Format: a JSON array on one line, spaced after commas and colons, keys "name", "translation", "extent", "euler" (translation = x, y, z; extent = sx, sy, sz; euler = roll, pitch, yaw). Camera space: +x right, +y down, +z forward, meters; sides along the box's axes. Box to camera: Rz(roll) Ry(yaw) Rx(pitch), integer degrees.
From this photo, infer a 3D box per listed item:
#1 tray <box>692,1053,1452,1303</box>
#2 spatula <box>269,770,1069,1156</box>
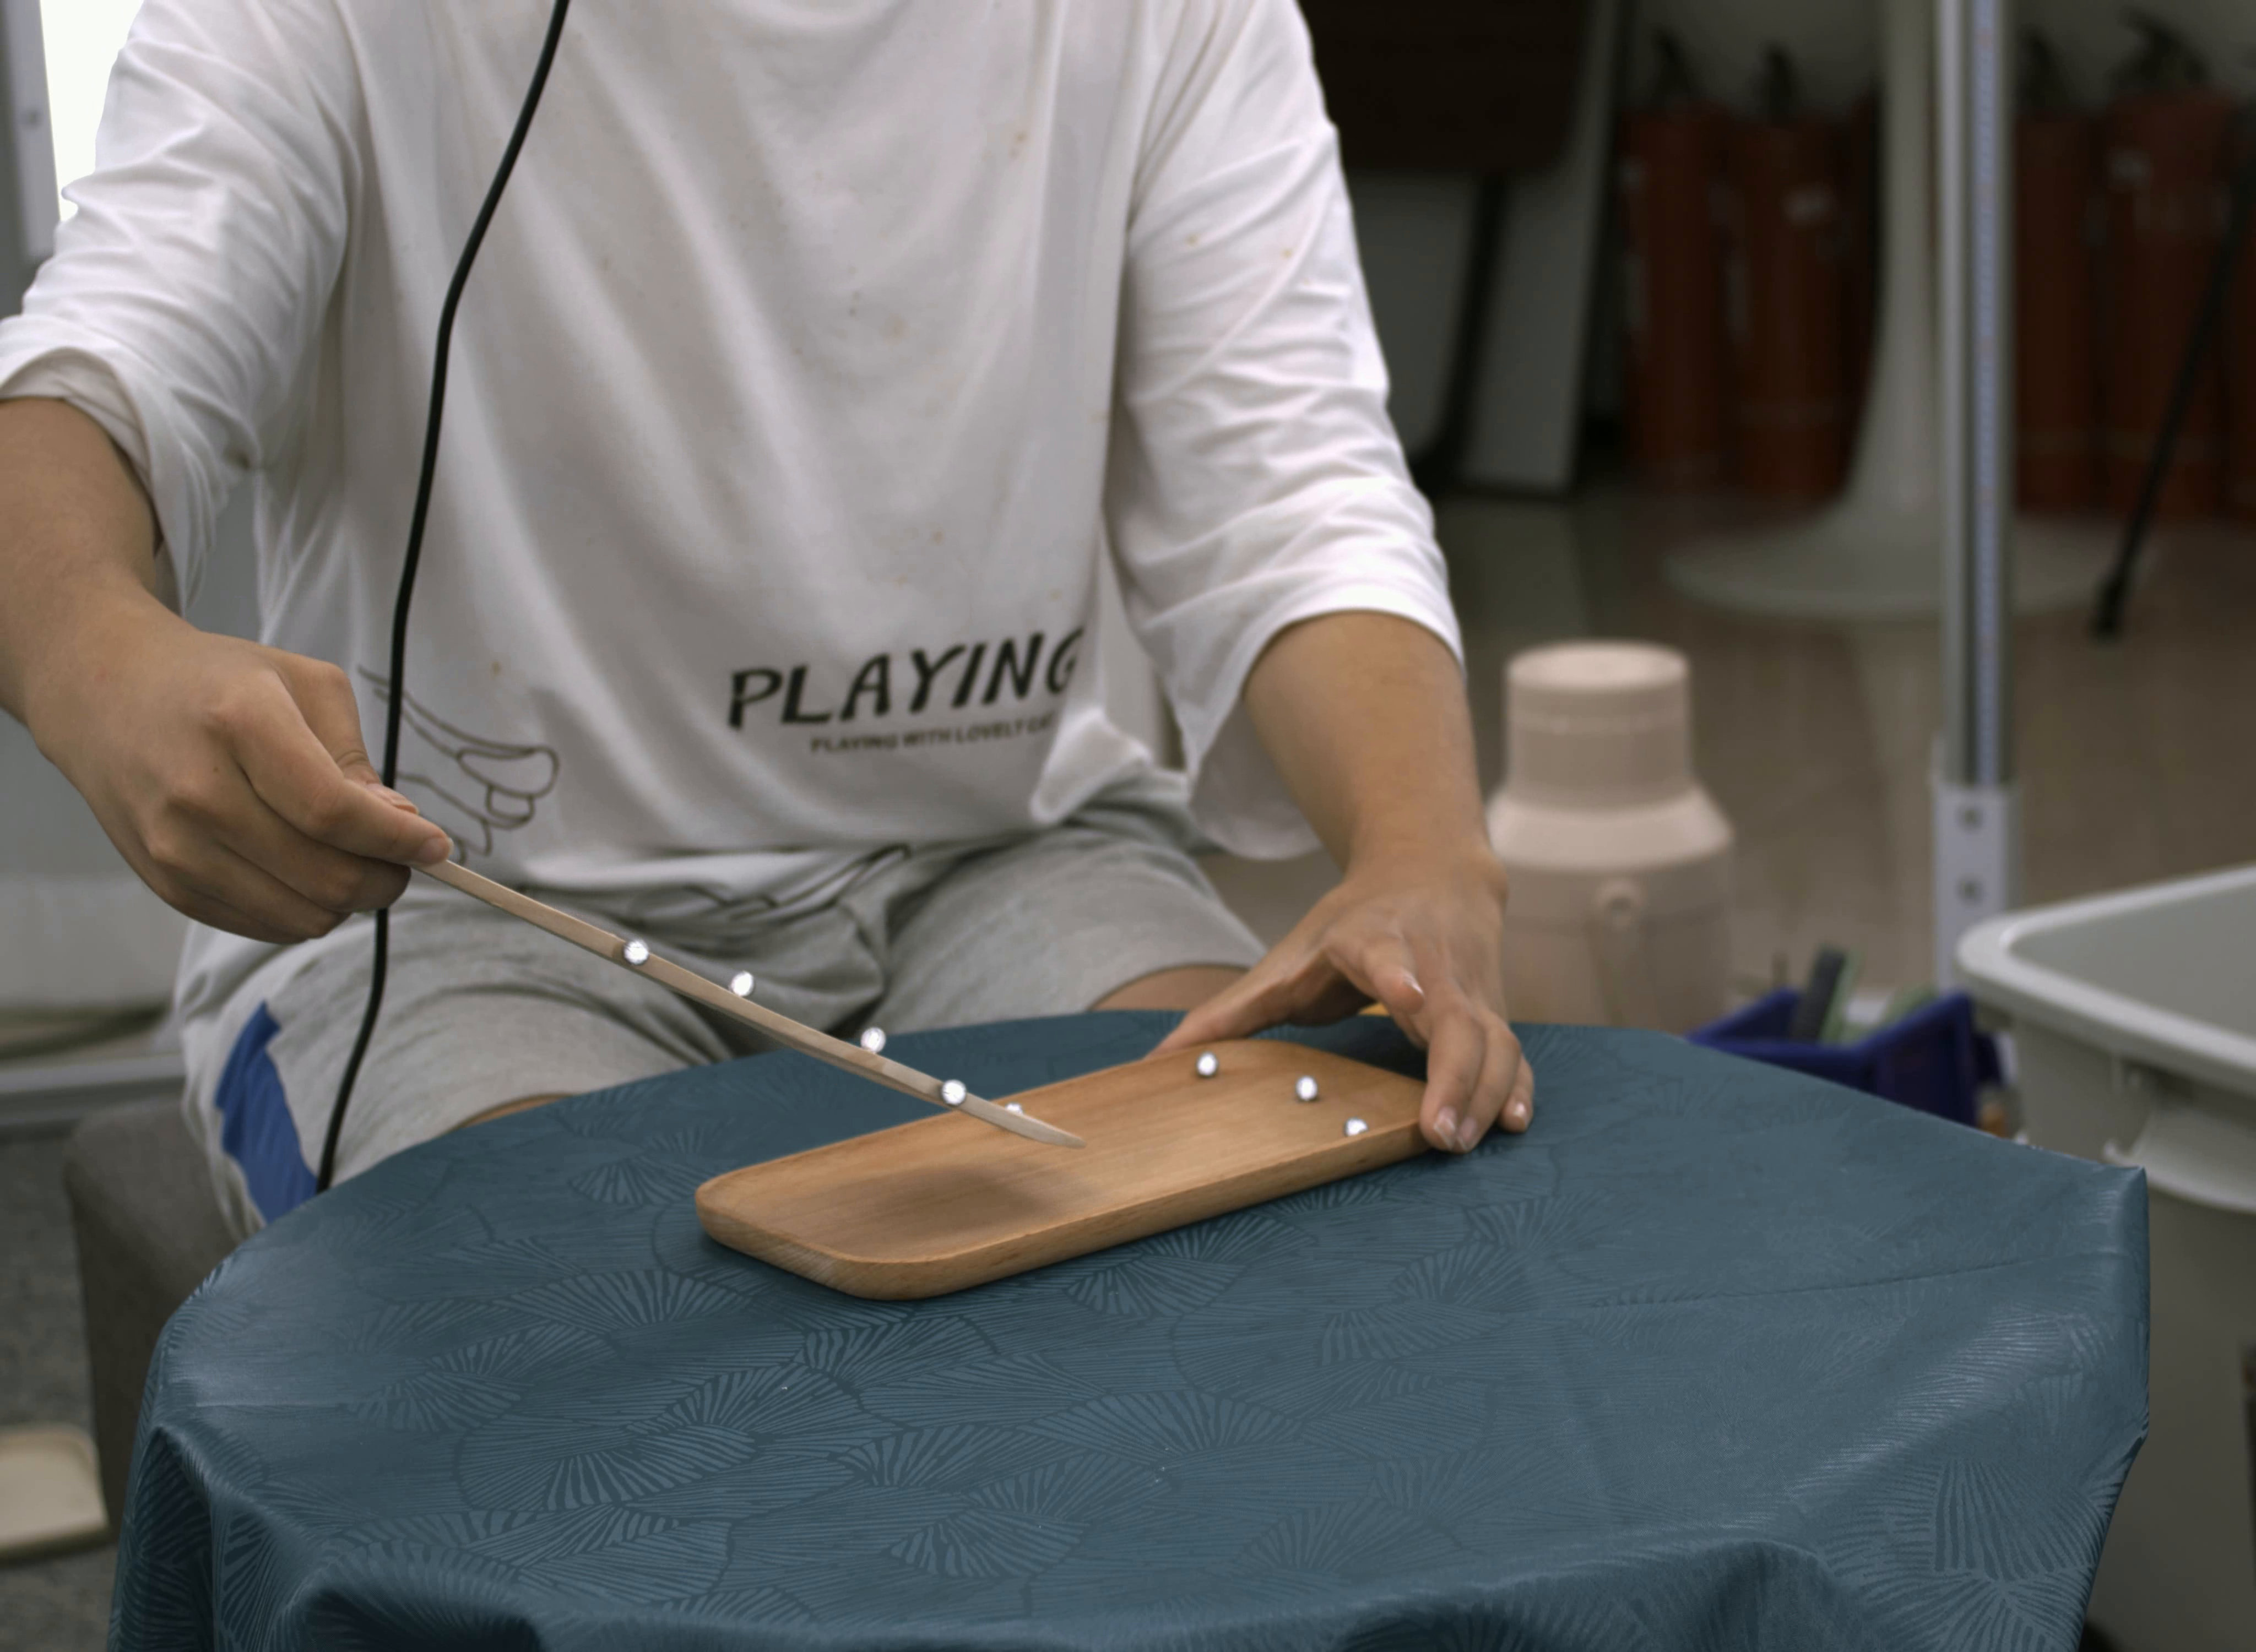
[{"name": "tray", "translation": [-0.016, 0.114, 1.780], "extent": [0.245, 0.023, 0.132], "euler": [-13, 13, -34]}, {"name": "spatula", "translation": [-0.143, 0.045, 1.682], "extent": [0.287, 0.011, 0.073], "euler": [28, -7, -30]}]
